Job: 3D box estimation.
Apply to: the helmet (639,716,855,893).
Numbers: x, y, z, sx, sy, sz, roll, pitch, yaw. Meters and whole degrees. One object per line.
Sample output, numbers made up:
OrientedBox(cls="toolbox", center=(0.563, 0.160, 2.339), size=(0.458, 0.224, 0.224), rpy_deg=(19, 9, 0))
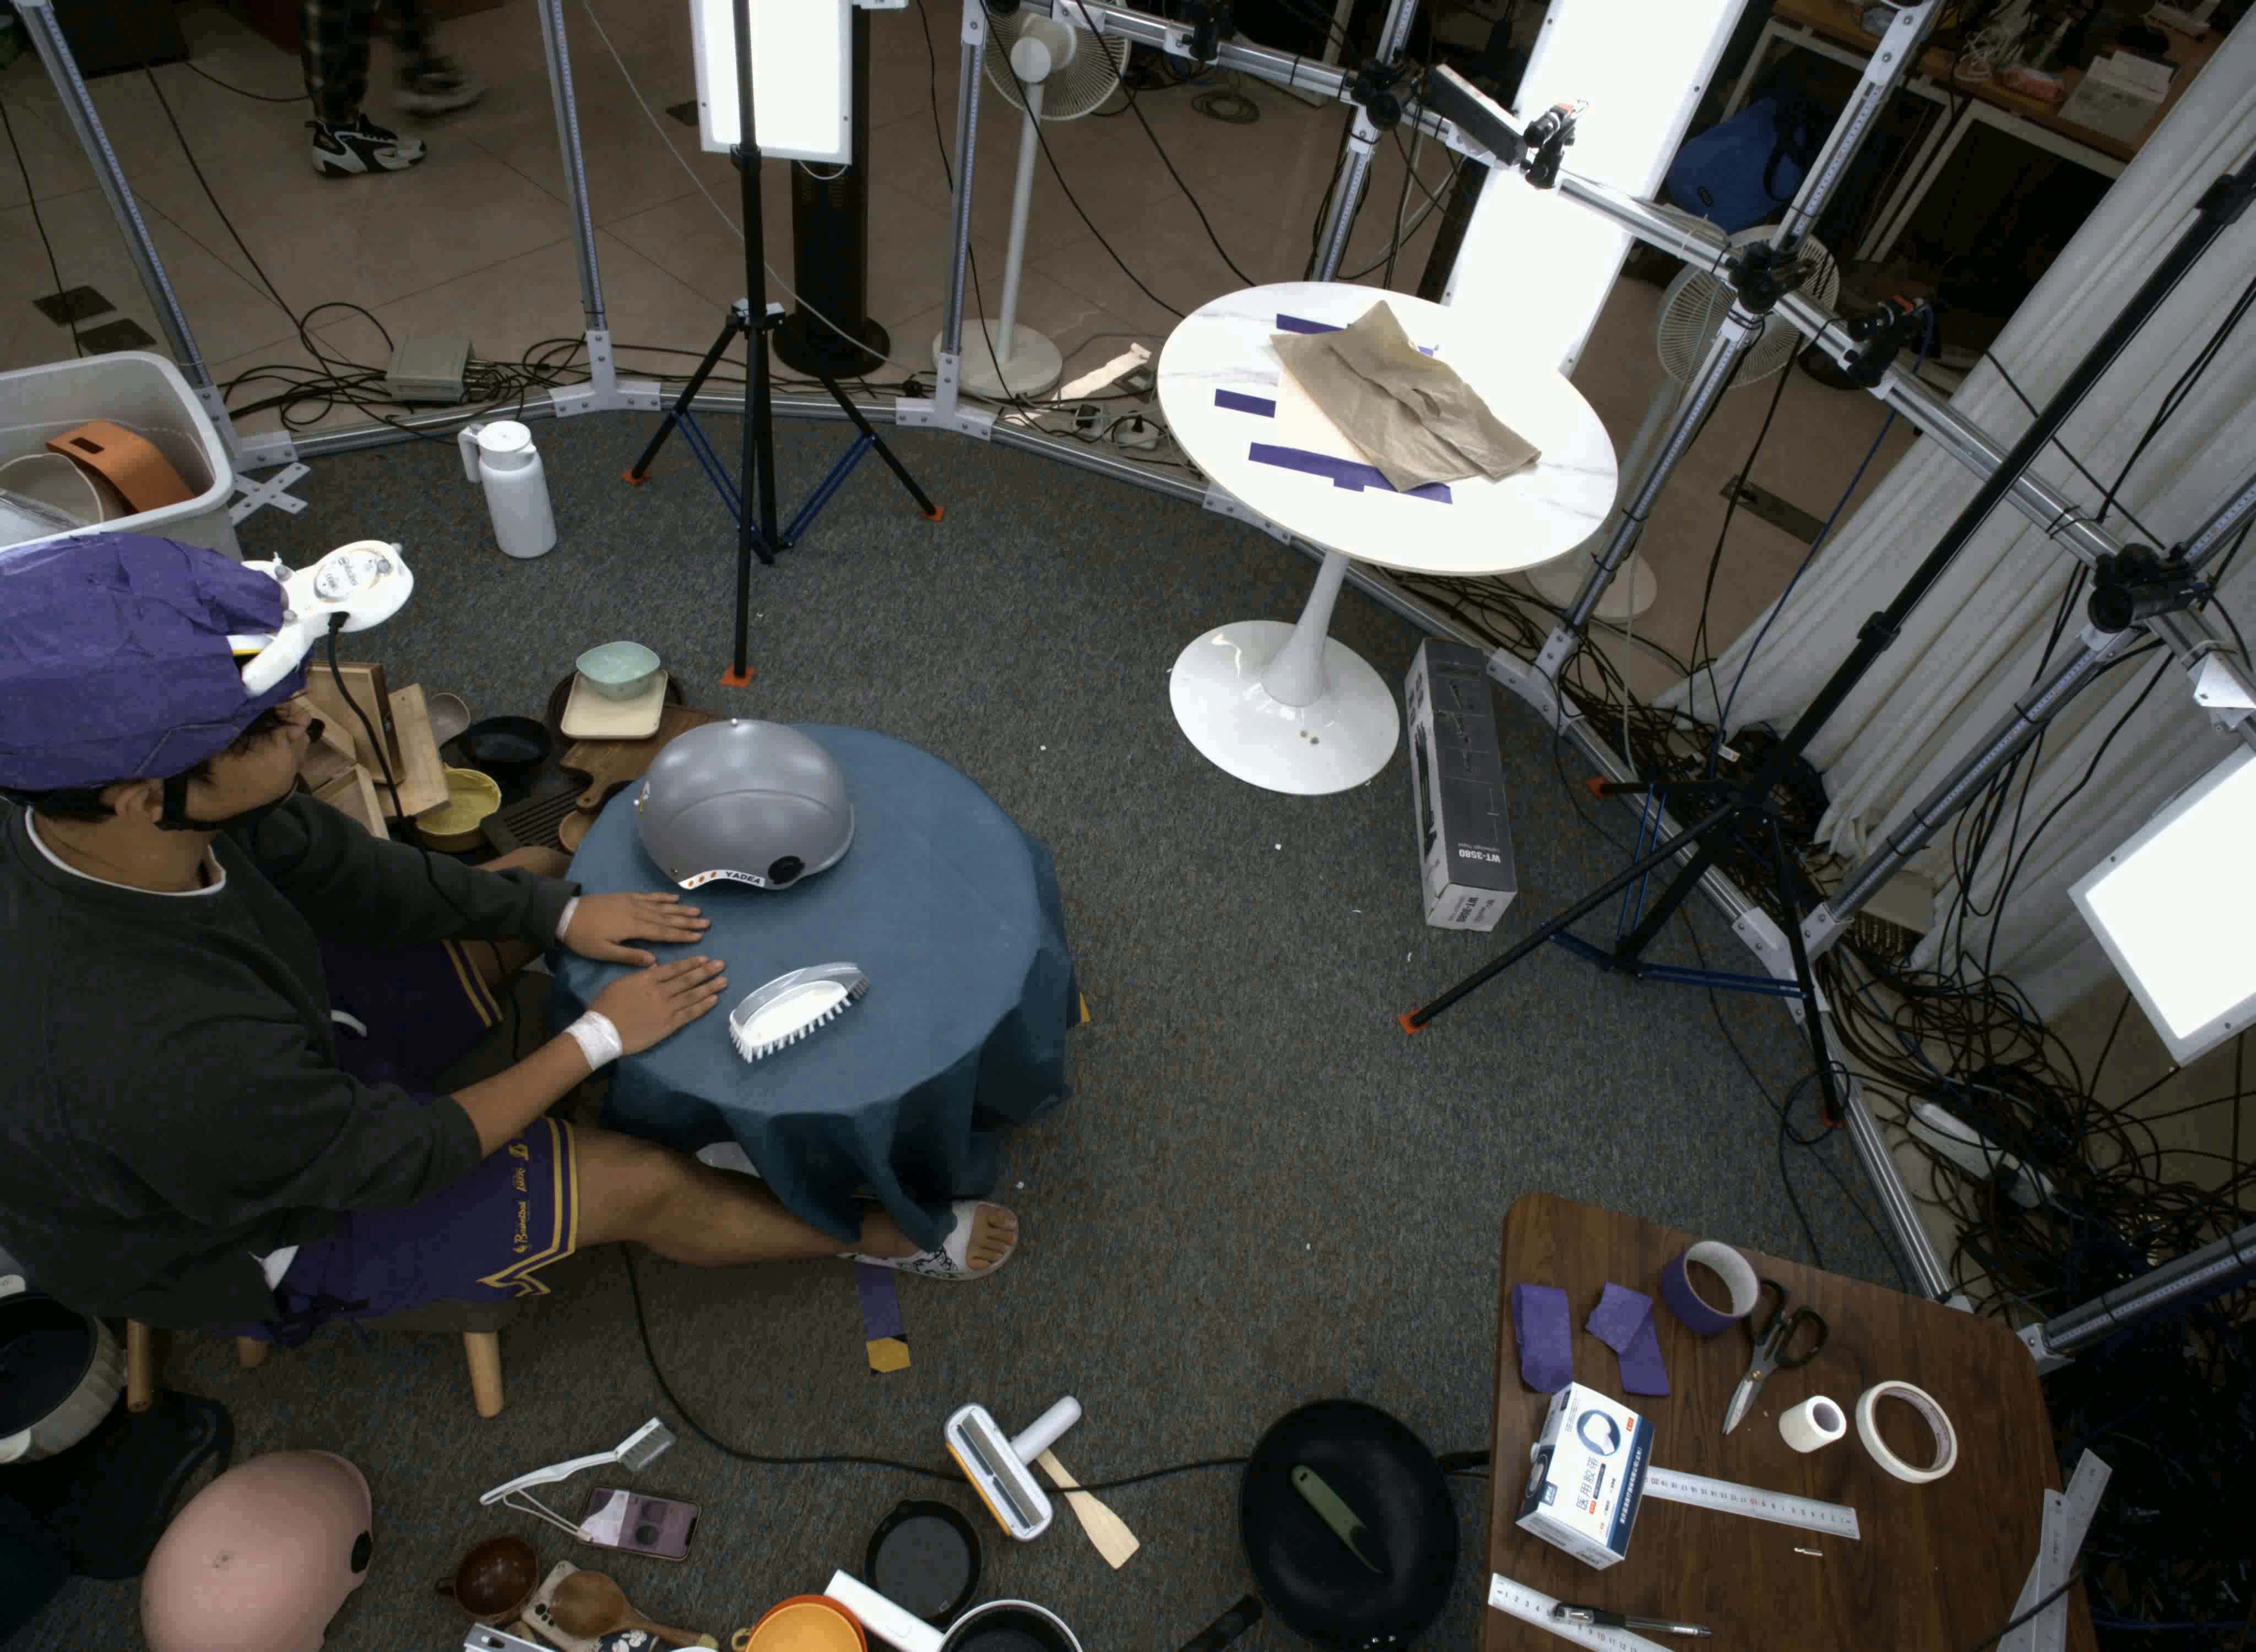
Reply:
OrientedBox(cls="helmet", center=(-0.484, -0.049, 1.645), size=(0.278, 0.172, 0.226), rpy_deg=(-7, 56, -21))

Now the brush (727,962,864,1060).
OrientedBox(cls="brush", center=(-0.388, 0.197, 1.532), size=(0.176, 0.096, 0.060), rpy_deg=(-24, 62, -31))
